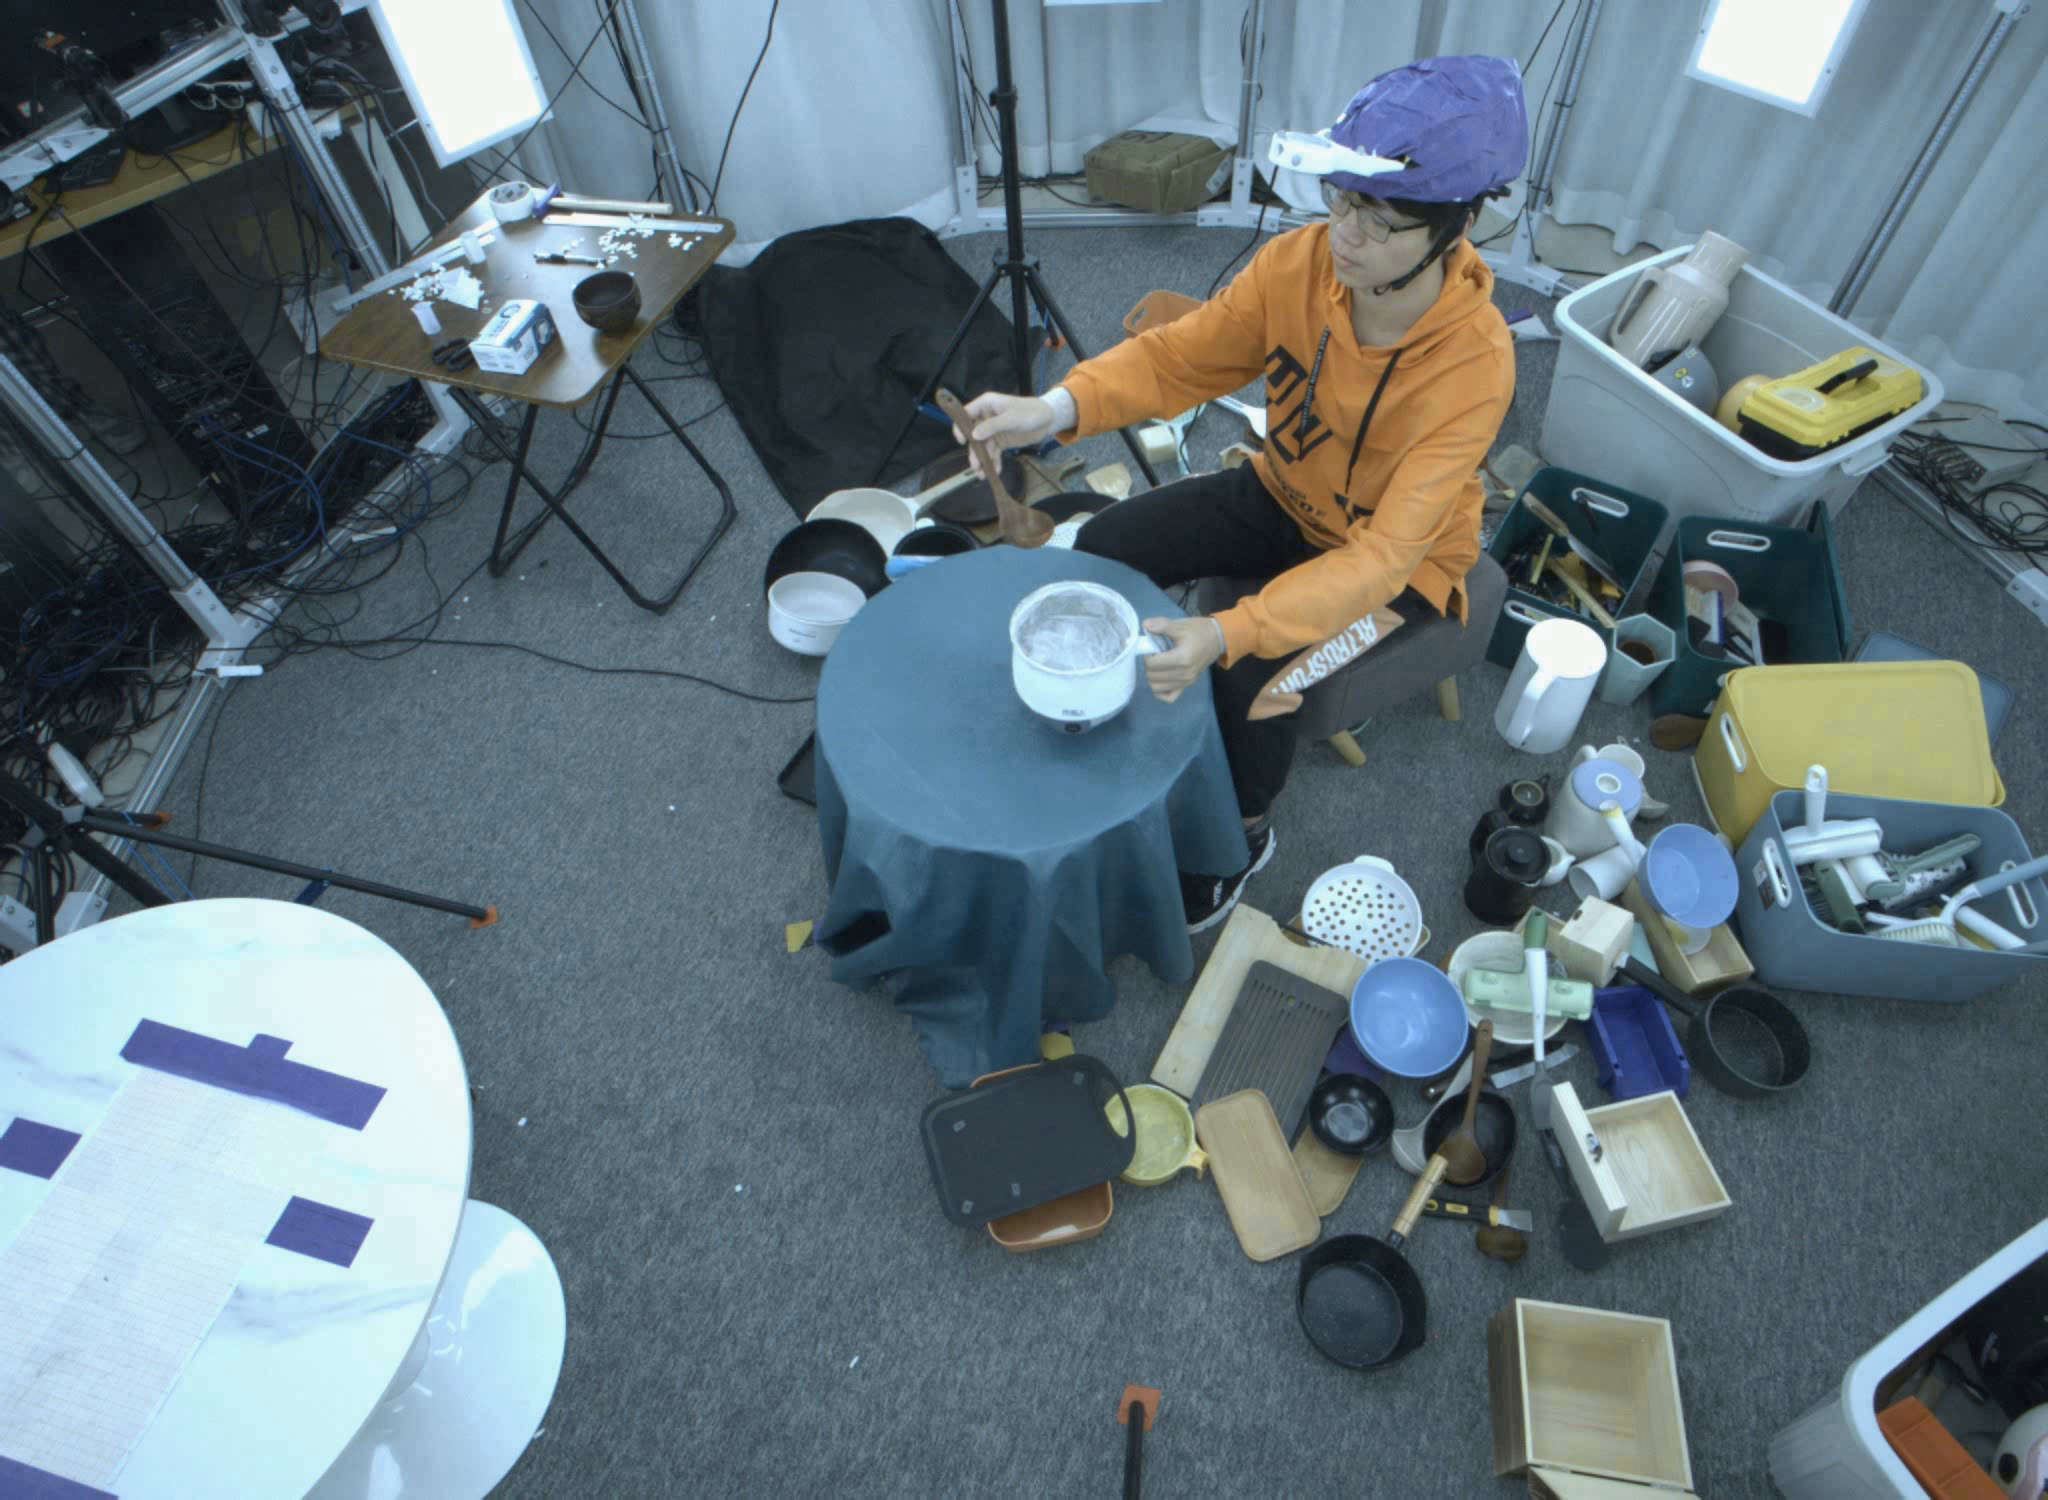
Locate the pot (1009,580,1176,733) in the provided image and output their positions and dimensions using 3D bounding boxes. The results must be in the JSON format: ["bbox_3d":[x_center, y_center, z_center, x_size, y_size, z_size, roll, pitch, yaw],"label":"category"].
[{"bbox_3d":[0.098,-0.131,1.729,0.233,0.138,0.177,0,54,2],"label":"pot"}]

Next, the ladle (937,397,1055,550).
[{"bbox_3d":[-0.044,-0.384,1.643,0.077,0.064,0.260,-30,94,-34],"label":"ladle"}]
